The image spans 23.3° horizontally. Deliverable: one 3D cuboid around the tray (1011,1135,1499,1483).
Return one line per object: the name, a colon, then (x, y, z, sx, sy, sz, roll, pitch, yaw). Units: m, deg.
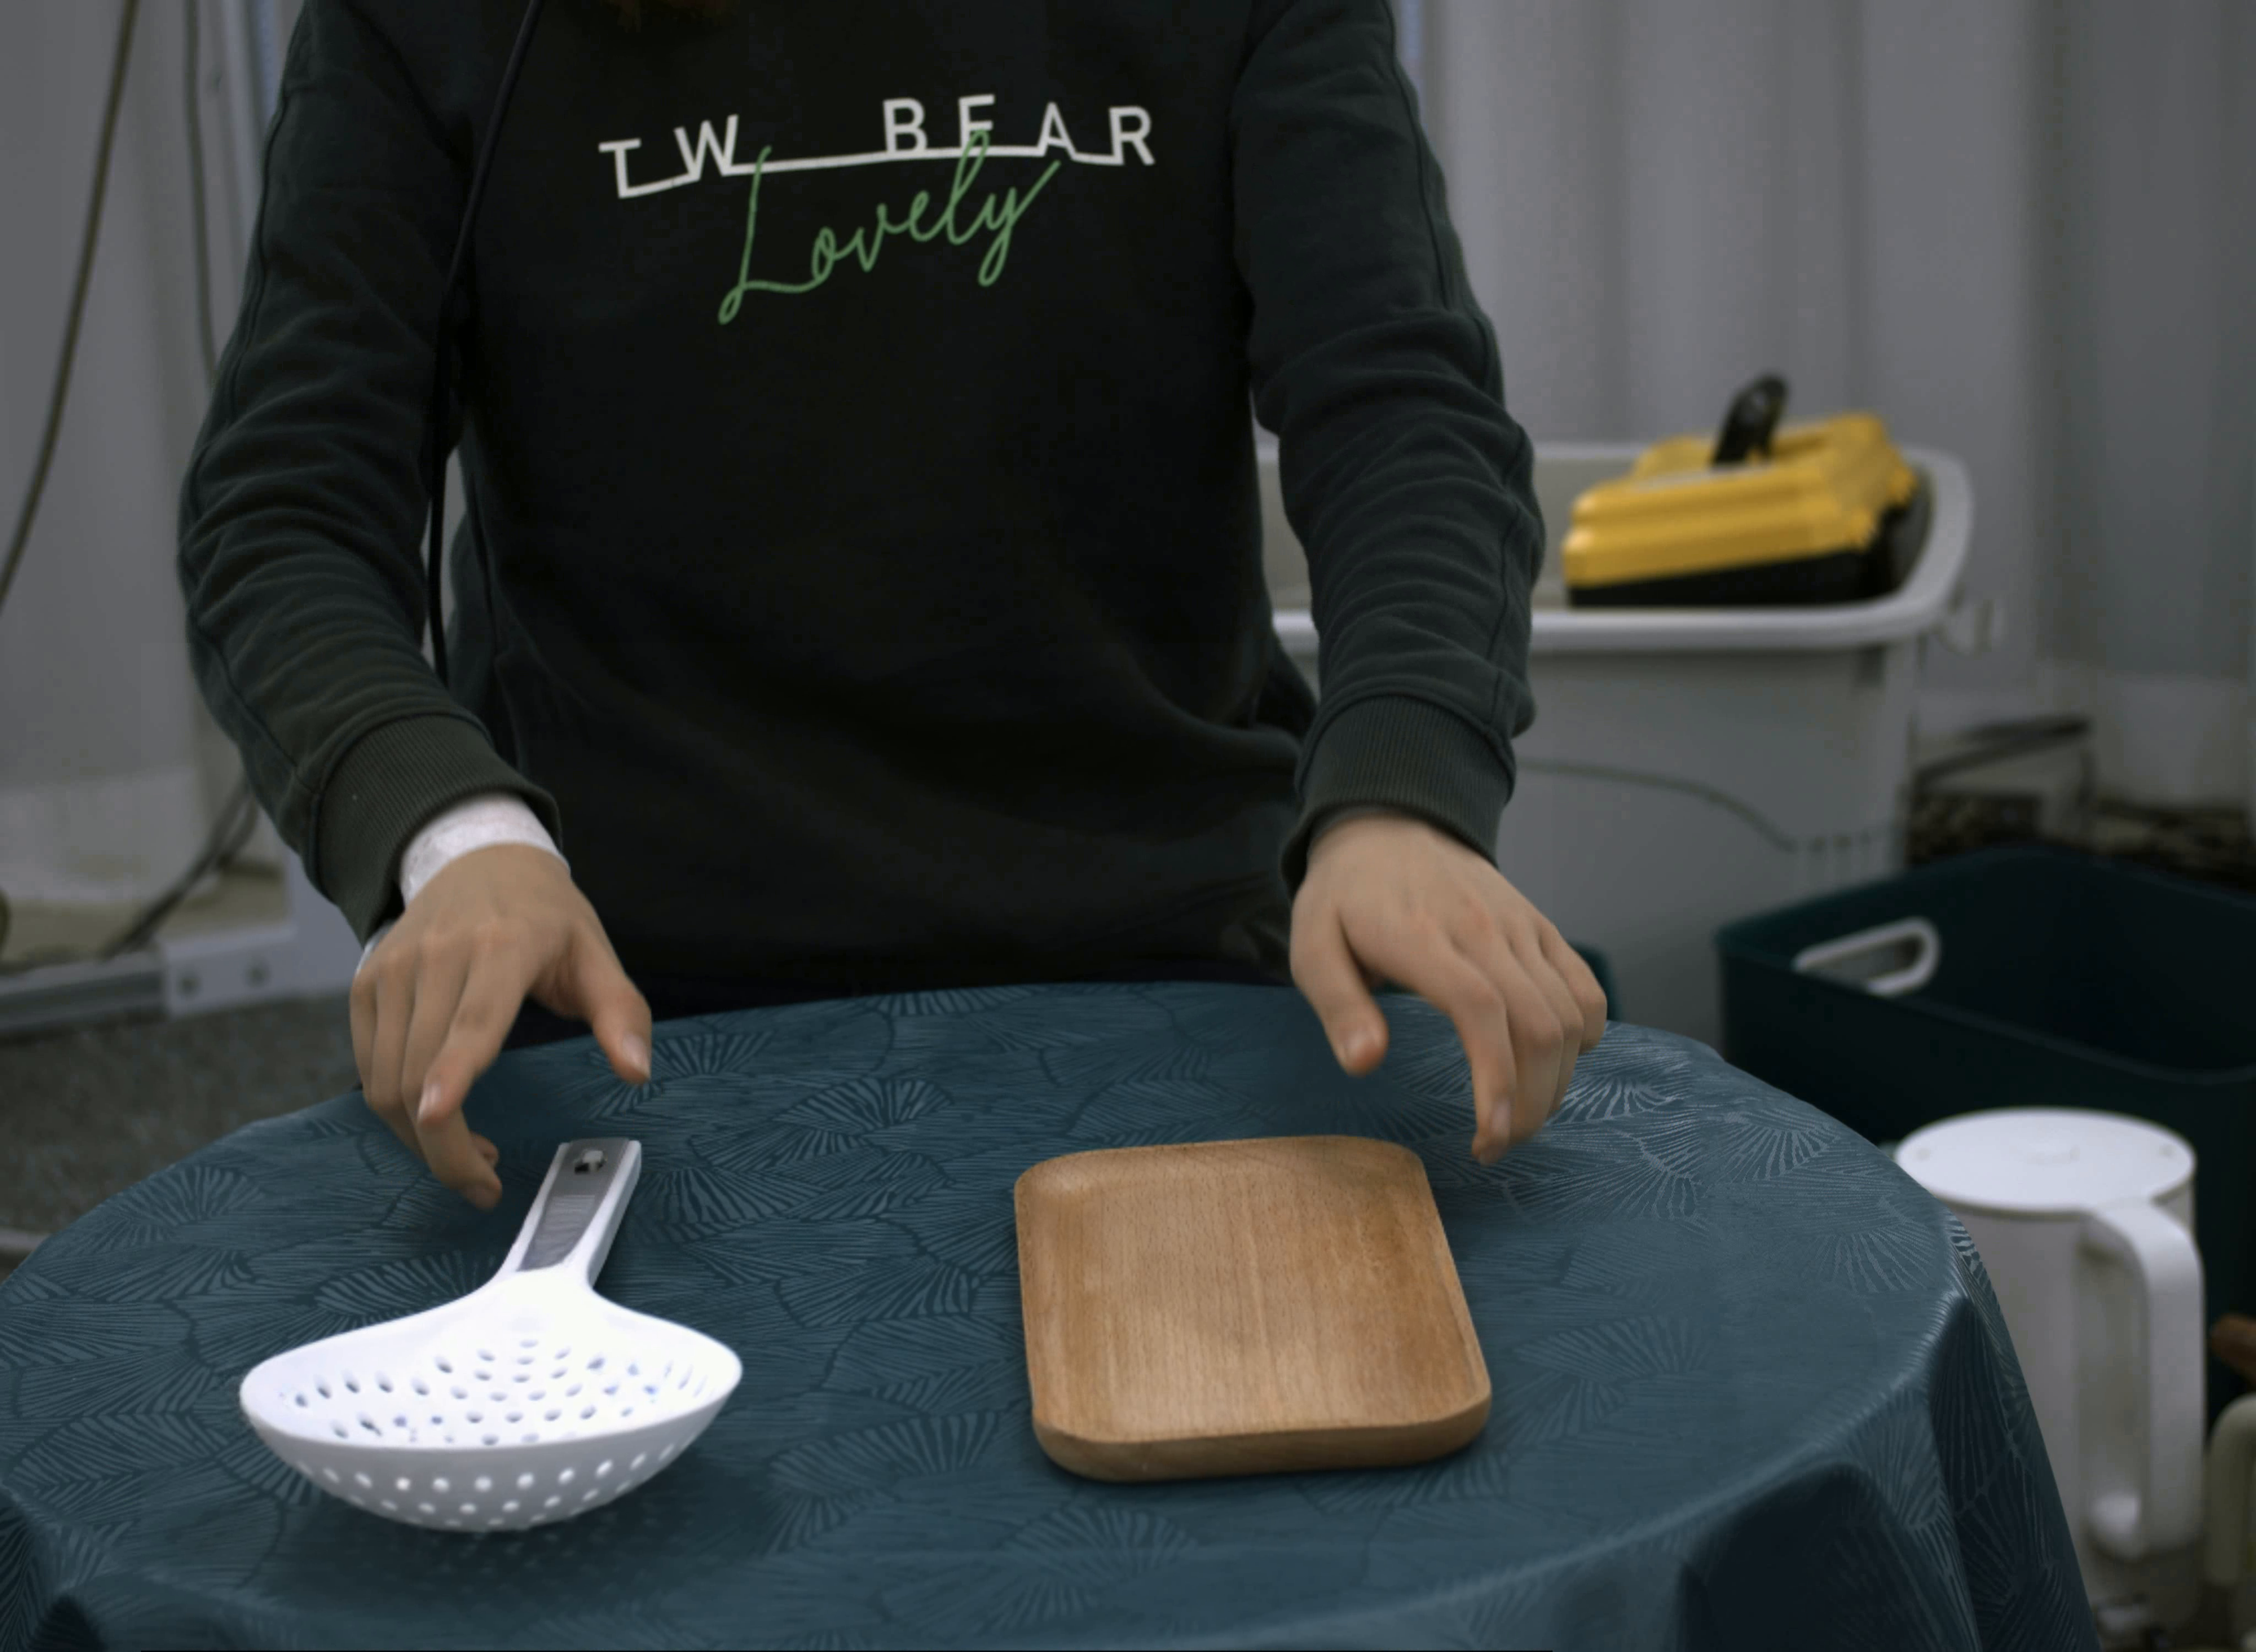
tray: (0.033, 0.138, 1.591, 0.130, 0.023, 0.252, -1, 14, -2)

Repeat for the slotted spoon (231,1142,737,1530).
slotted spoon: (-0.170, 0.137, 1.575, 0.135, 0.045, 0.352, 0, 14, 1)
